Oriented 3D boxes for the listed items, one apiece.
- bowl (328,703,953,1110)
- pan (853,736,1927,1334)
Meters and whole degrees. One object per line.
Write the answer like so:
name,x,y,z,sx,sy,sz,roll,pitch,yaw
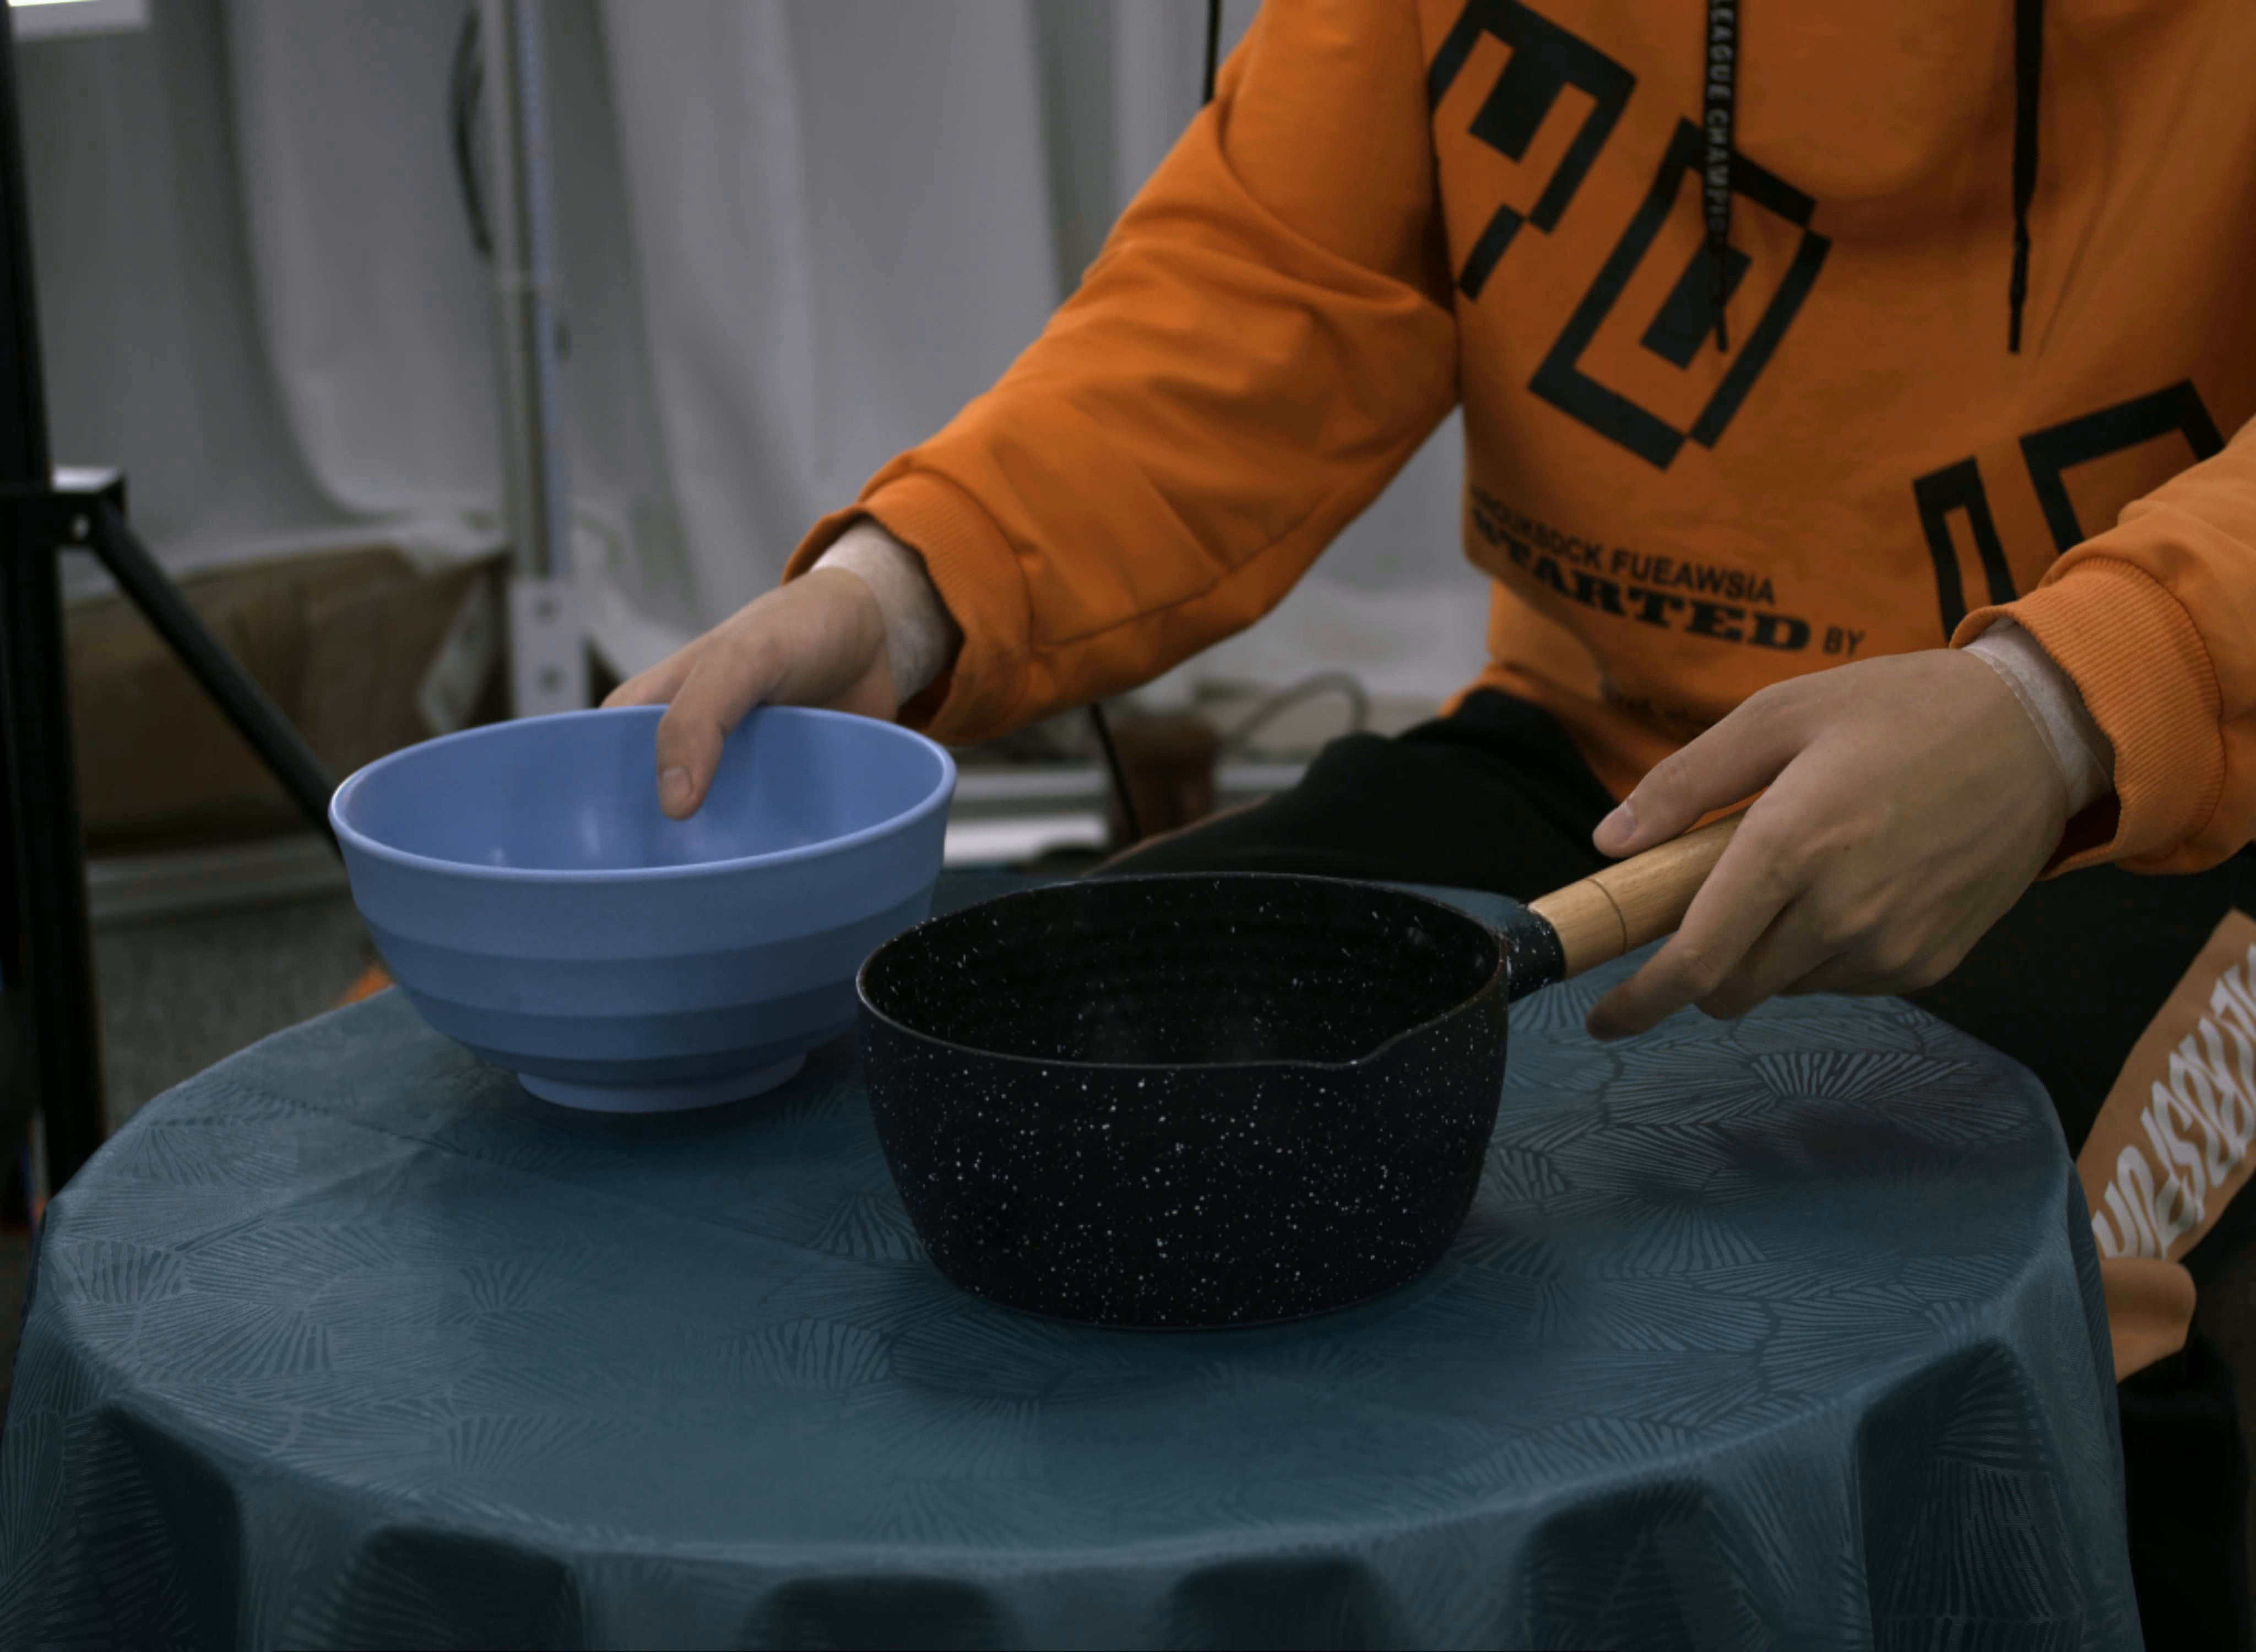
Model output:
bowl,-0.150,0.030,1.681,0.195,0.095,0.197,-4,16,0
pan,0.086,0.055,1.533,0.336,0.108,0.212,-12,17,-25
